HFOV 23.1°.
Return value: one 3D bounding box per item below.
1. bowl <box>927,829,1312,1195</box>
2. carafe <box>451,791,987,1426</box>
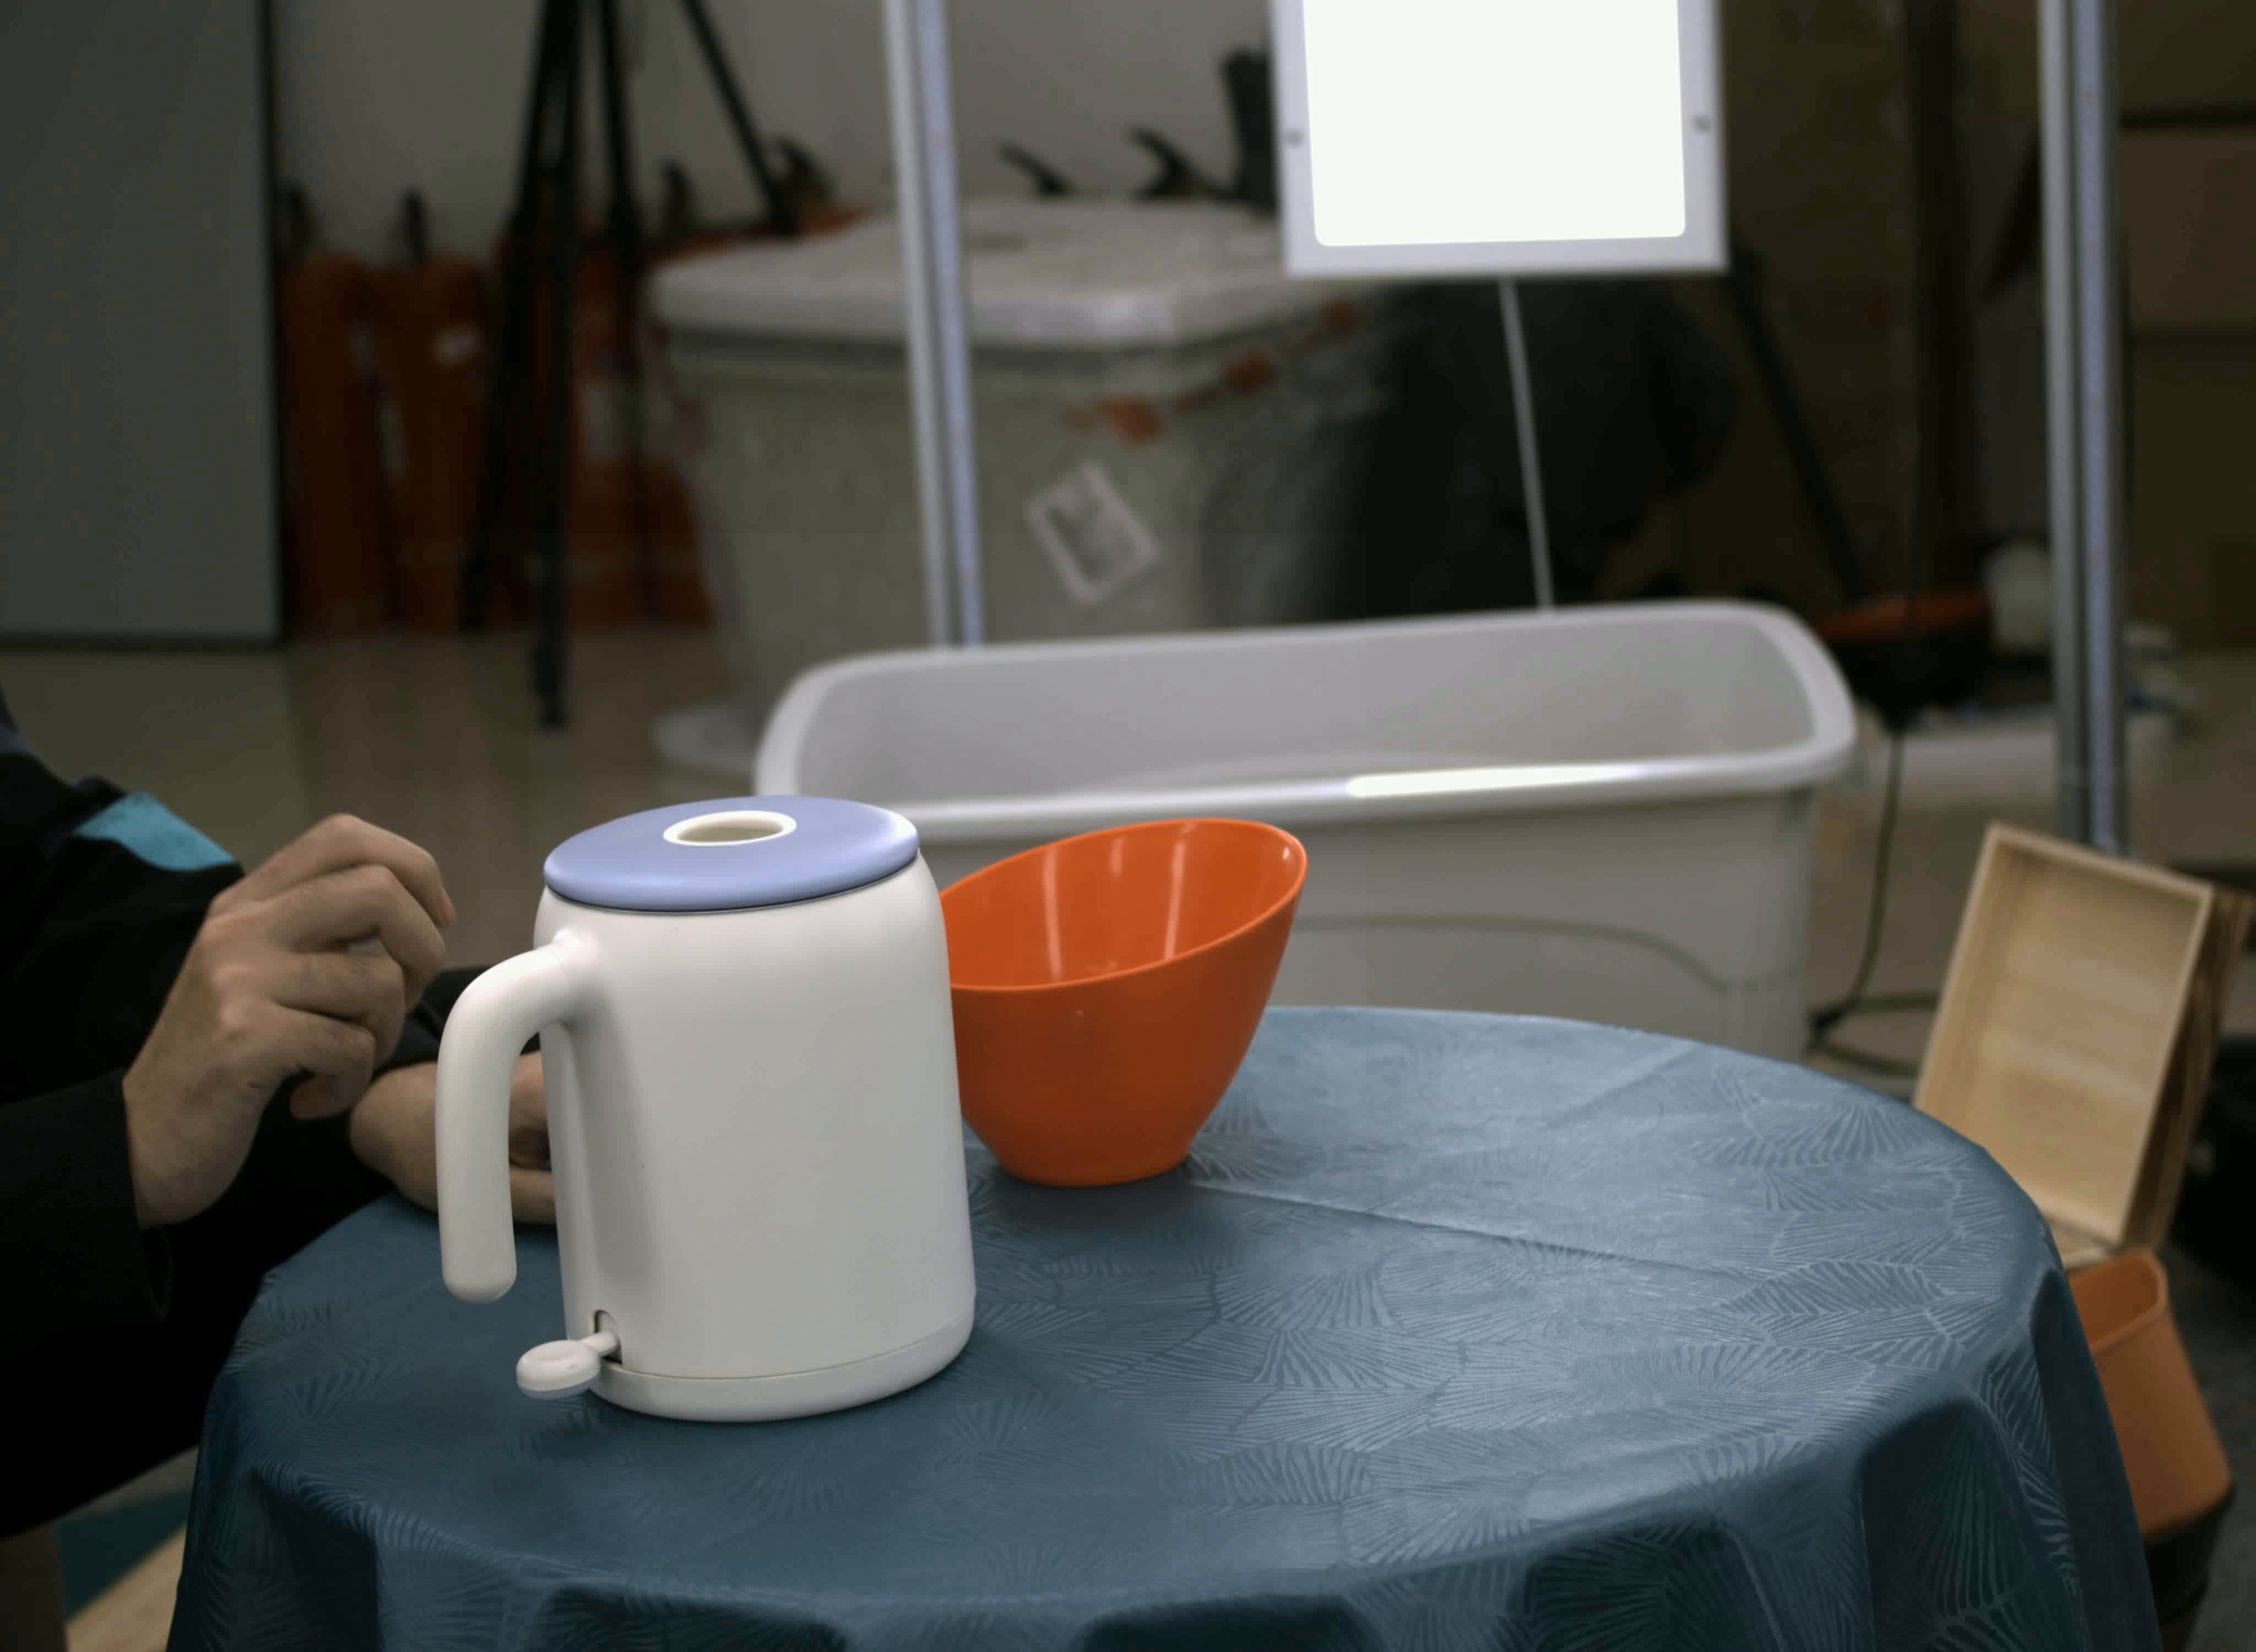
[{"bbox_3d":[-0.005,0.068,1.925,0.147,0.105,0.148,-5,14,0],"label":"bowl"},{"bbox_3d":[-0.134,0.094,1.722,0.186,0.183,0.135,-20,19,-39],"label":"carafe"}]
